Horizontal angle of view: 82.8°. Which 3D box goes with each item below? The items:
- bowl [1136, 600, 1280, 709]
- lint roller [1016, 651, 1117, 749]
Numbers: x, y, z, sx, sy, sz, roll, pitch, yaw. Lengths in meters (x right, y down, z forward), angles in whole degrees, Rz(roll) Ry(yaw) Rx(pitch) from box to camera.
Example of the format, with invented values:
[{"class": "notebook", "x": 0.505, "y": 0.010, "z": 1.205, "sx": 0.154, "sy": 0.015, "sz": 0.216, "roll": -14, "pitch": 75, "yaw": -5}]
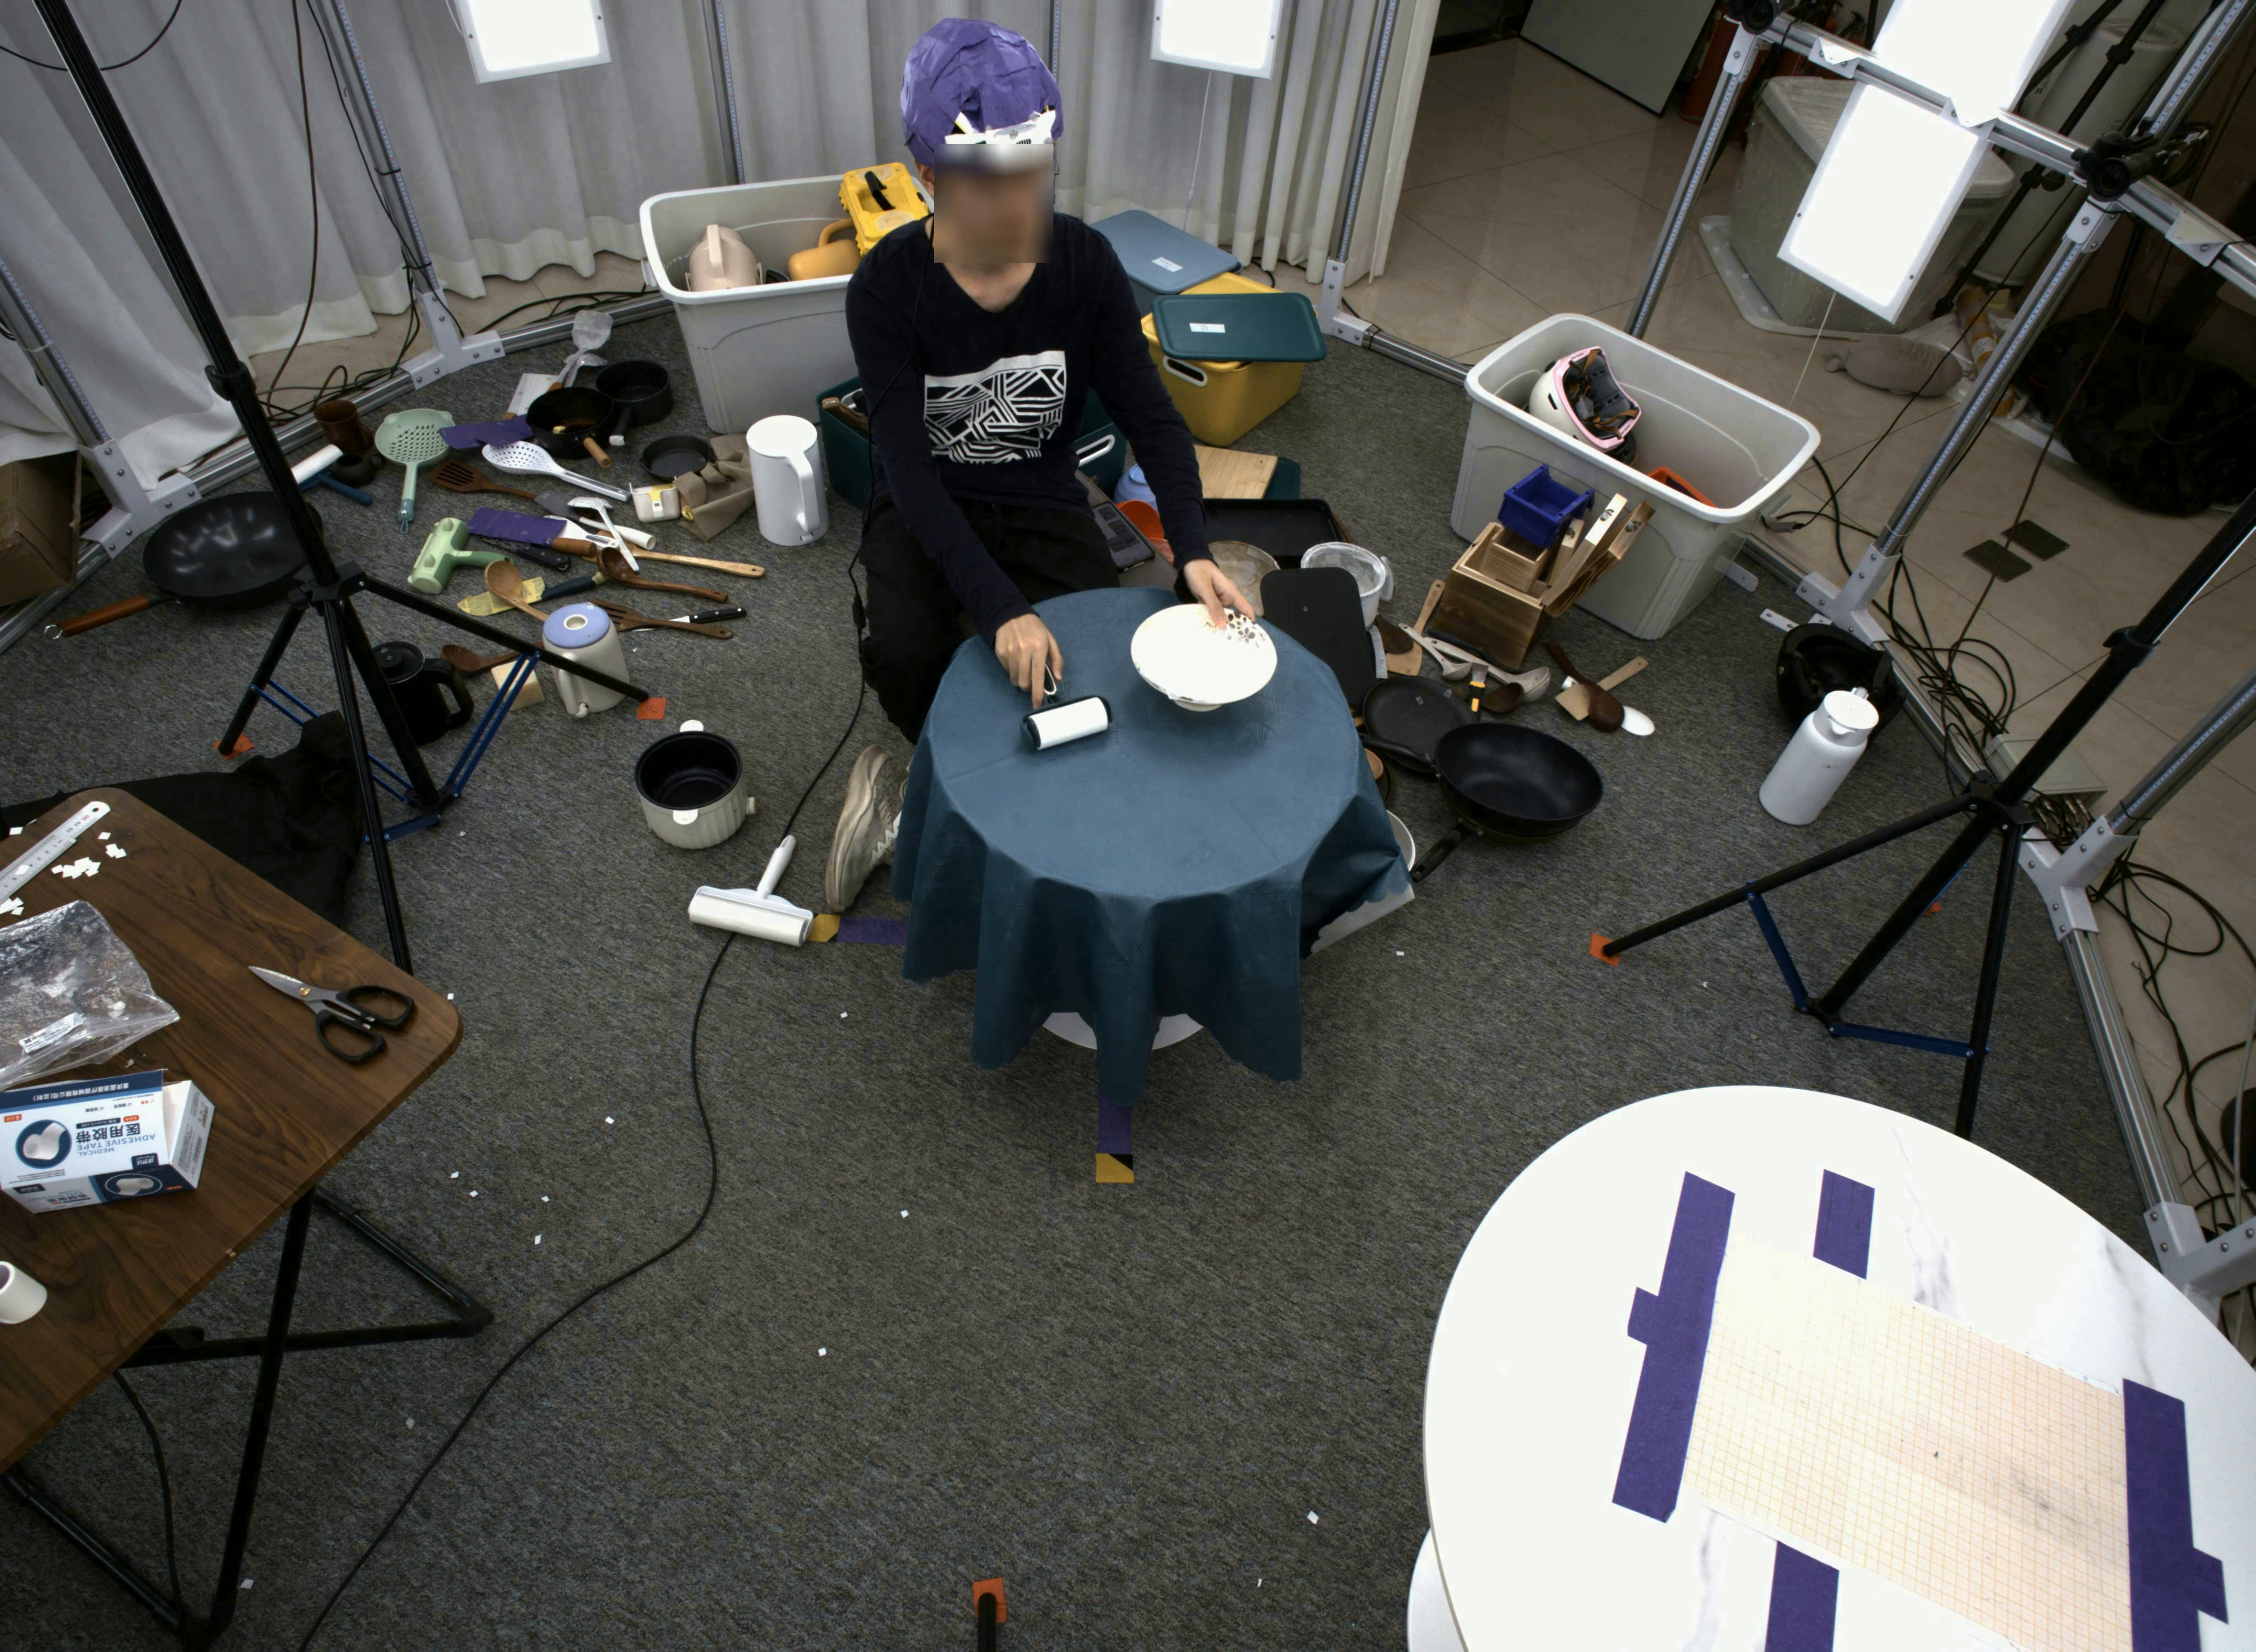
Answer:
[{"class": "bowl", "x": 0.107, "y": -0.223, "z": 1.810, "sx": 0.203, "sy": 0.076, "sz": 0.209, "roll": 4, "pitch": 48, "yaw": -5}, {"class": "lint roller", "x": -0.111, "y": -0.193, "z": 1.786, "sx": 0.134, "sy": 0.047, "sz": 0.184, "roll": -18, "pitch": 58, "yaw": -18}]
